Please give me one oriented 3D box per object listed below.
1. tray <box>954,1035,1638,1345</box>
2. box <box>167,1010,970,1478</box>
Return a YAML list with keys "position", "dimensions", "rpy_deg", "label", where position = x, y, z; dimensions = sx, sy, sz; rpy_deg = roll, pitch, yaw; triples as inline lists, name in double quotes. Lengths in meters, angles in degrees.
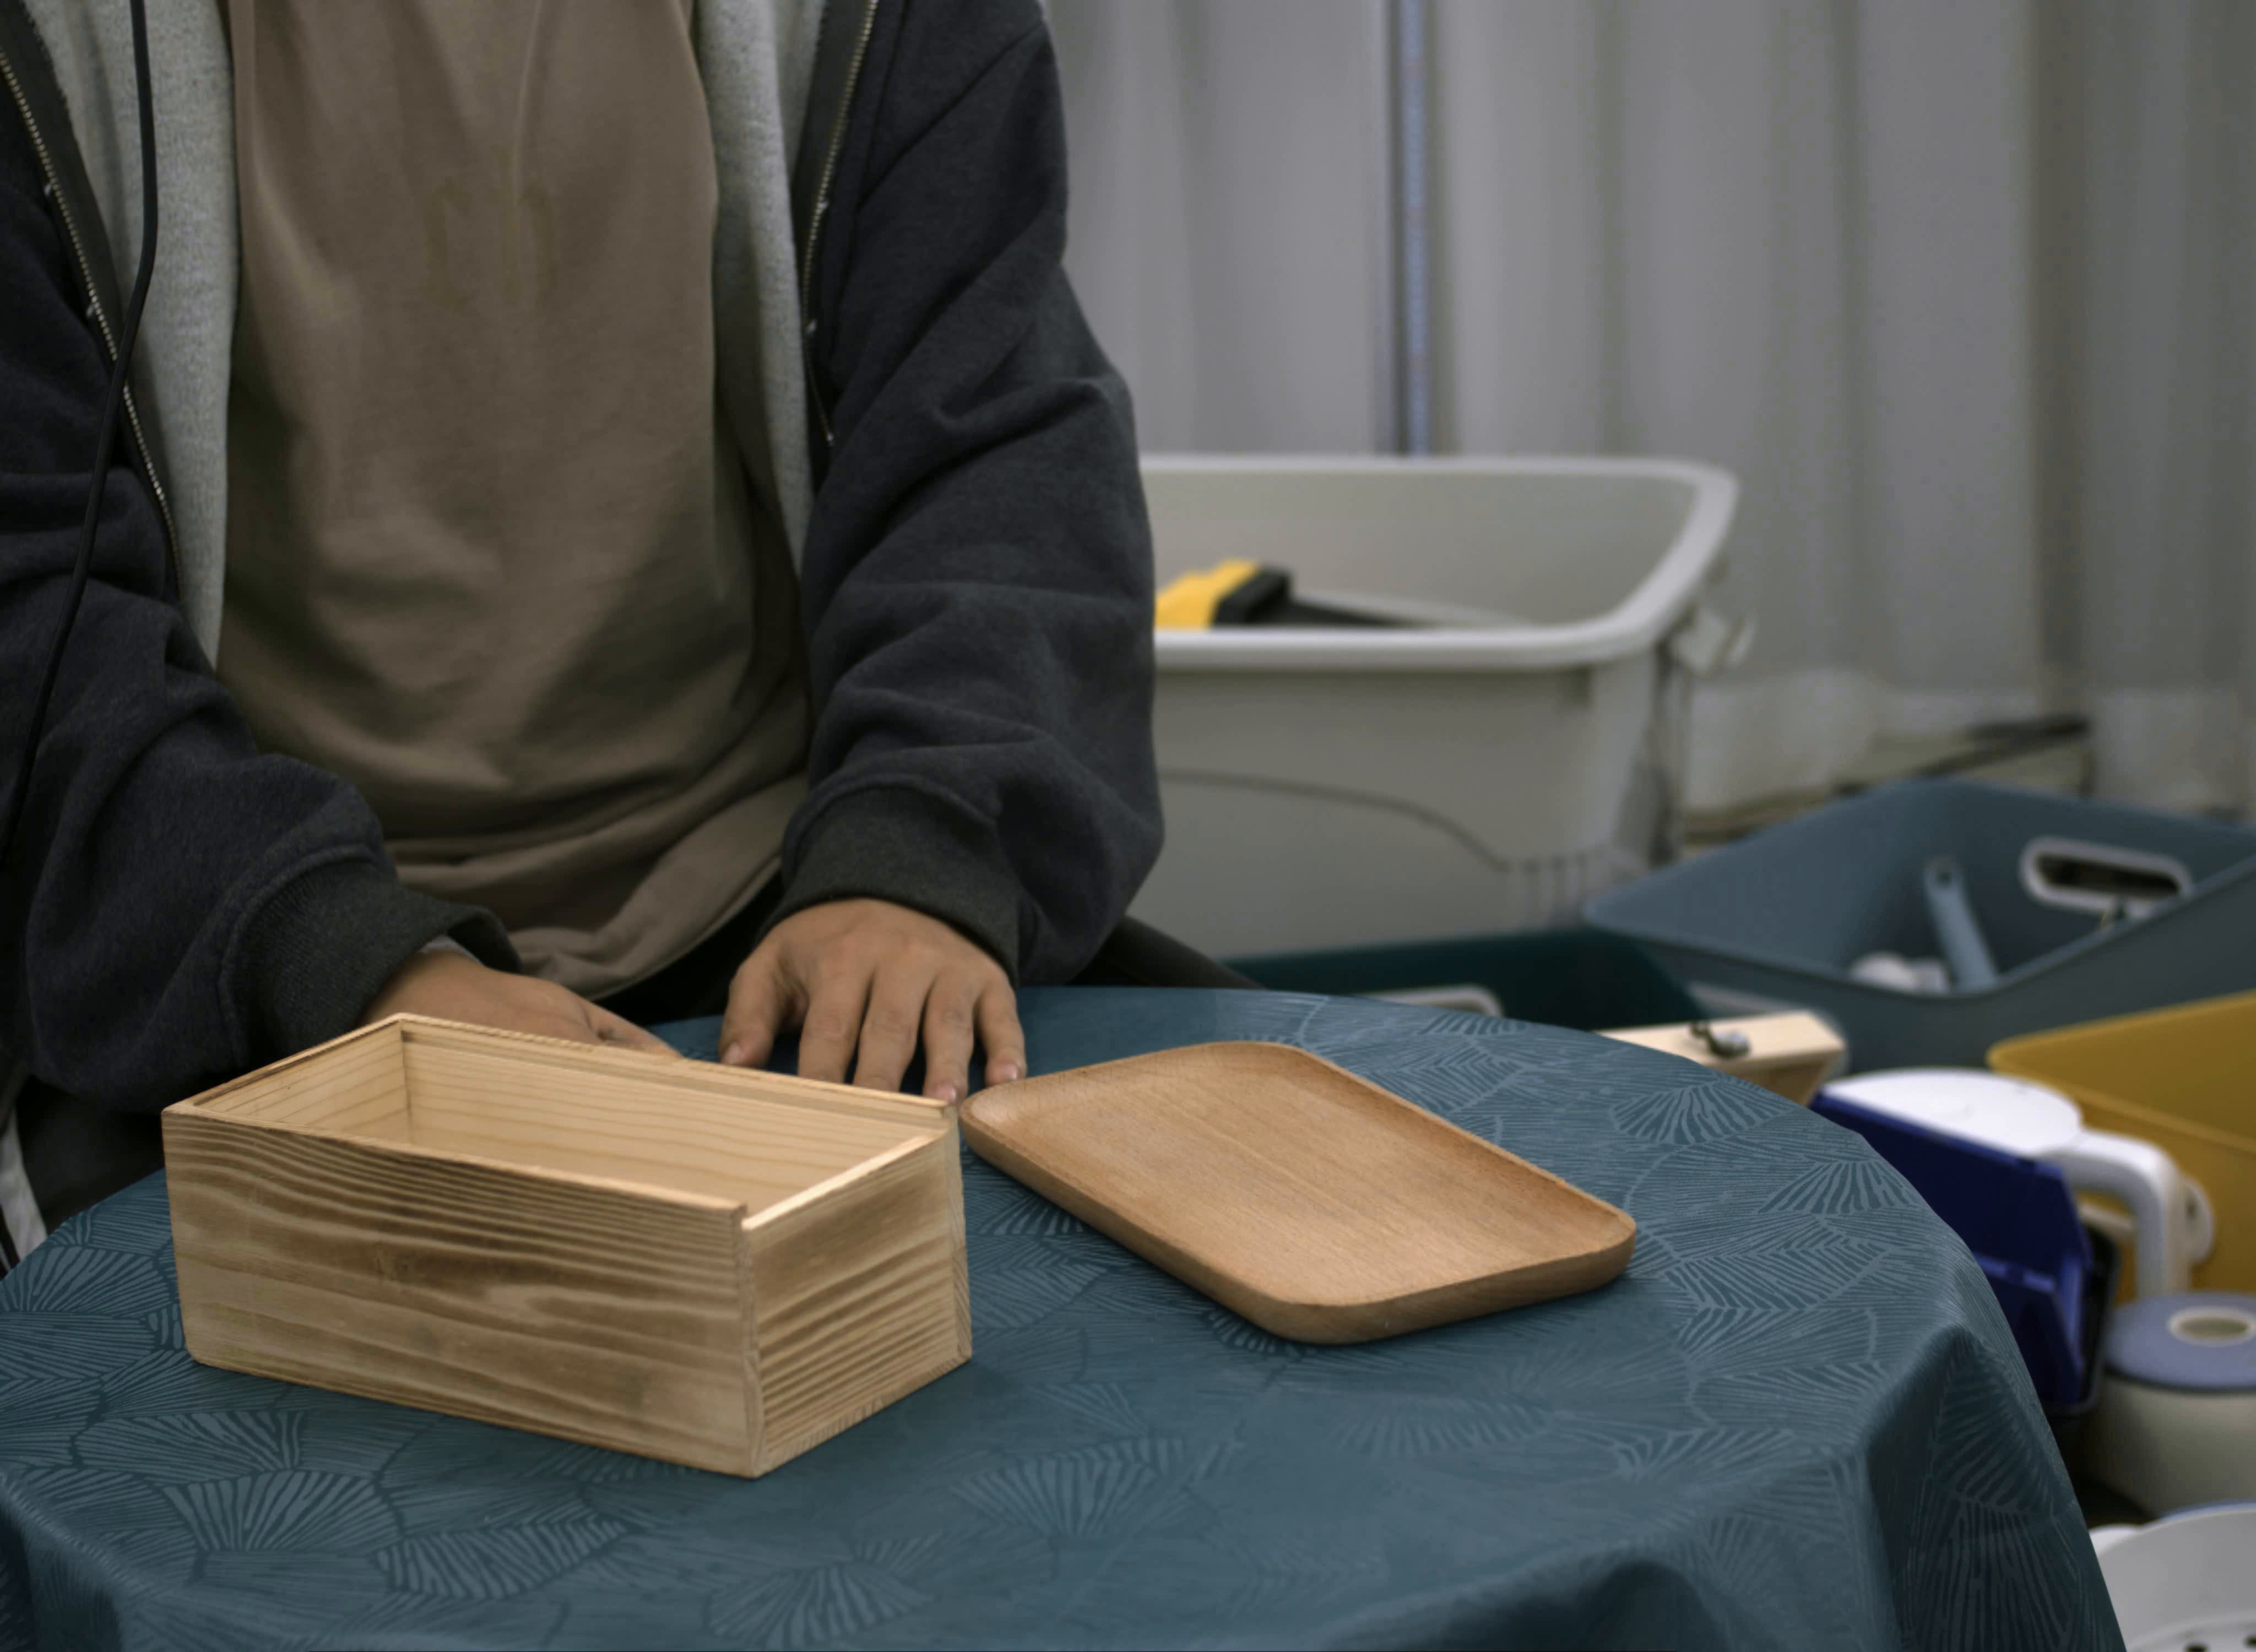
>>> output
- position: [0.048, 0.110, 1.690]
  dimensions: [0.130, 0.023, 0.252]
  rpy_deg: [-7, 15, -25]
  label: "tray"
- position: [-0.163, 0.118, 1.584]
  dimensions: [0.212, 0.080, 0.107]
  rpy_deg: [7, 17, 33]
  label: "box"
